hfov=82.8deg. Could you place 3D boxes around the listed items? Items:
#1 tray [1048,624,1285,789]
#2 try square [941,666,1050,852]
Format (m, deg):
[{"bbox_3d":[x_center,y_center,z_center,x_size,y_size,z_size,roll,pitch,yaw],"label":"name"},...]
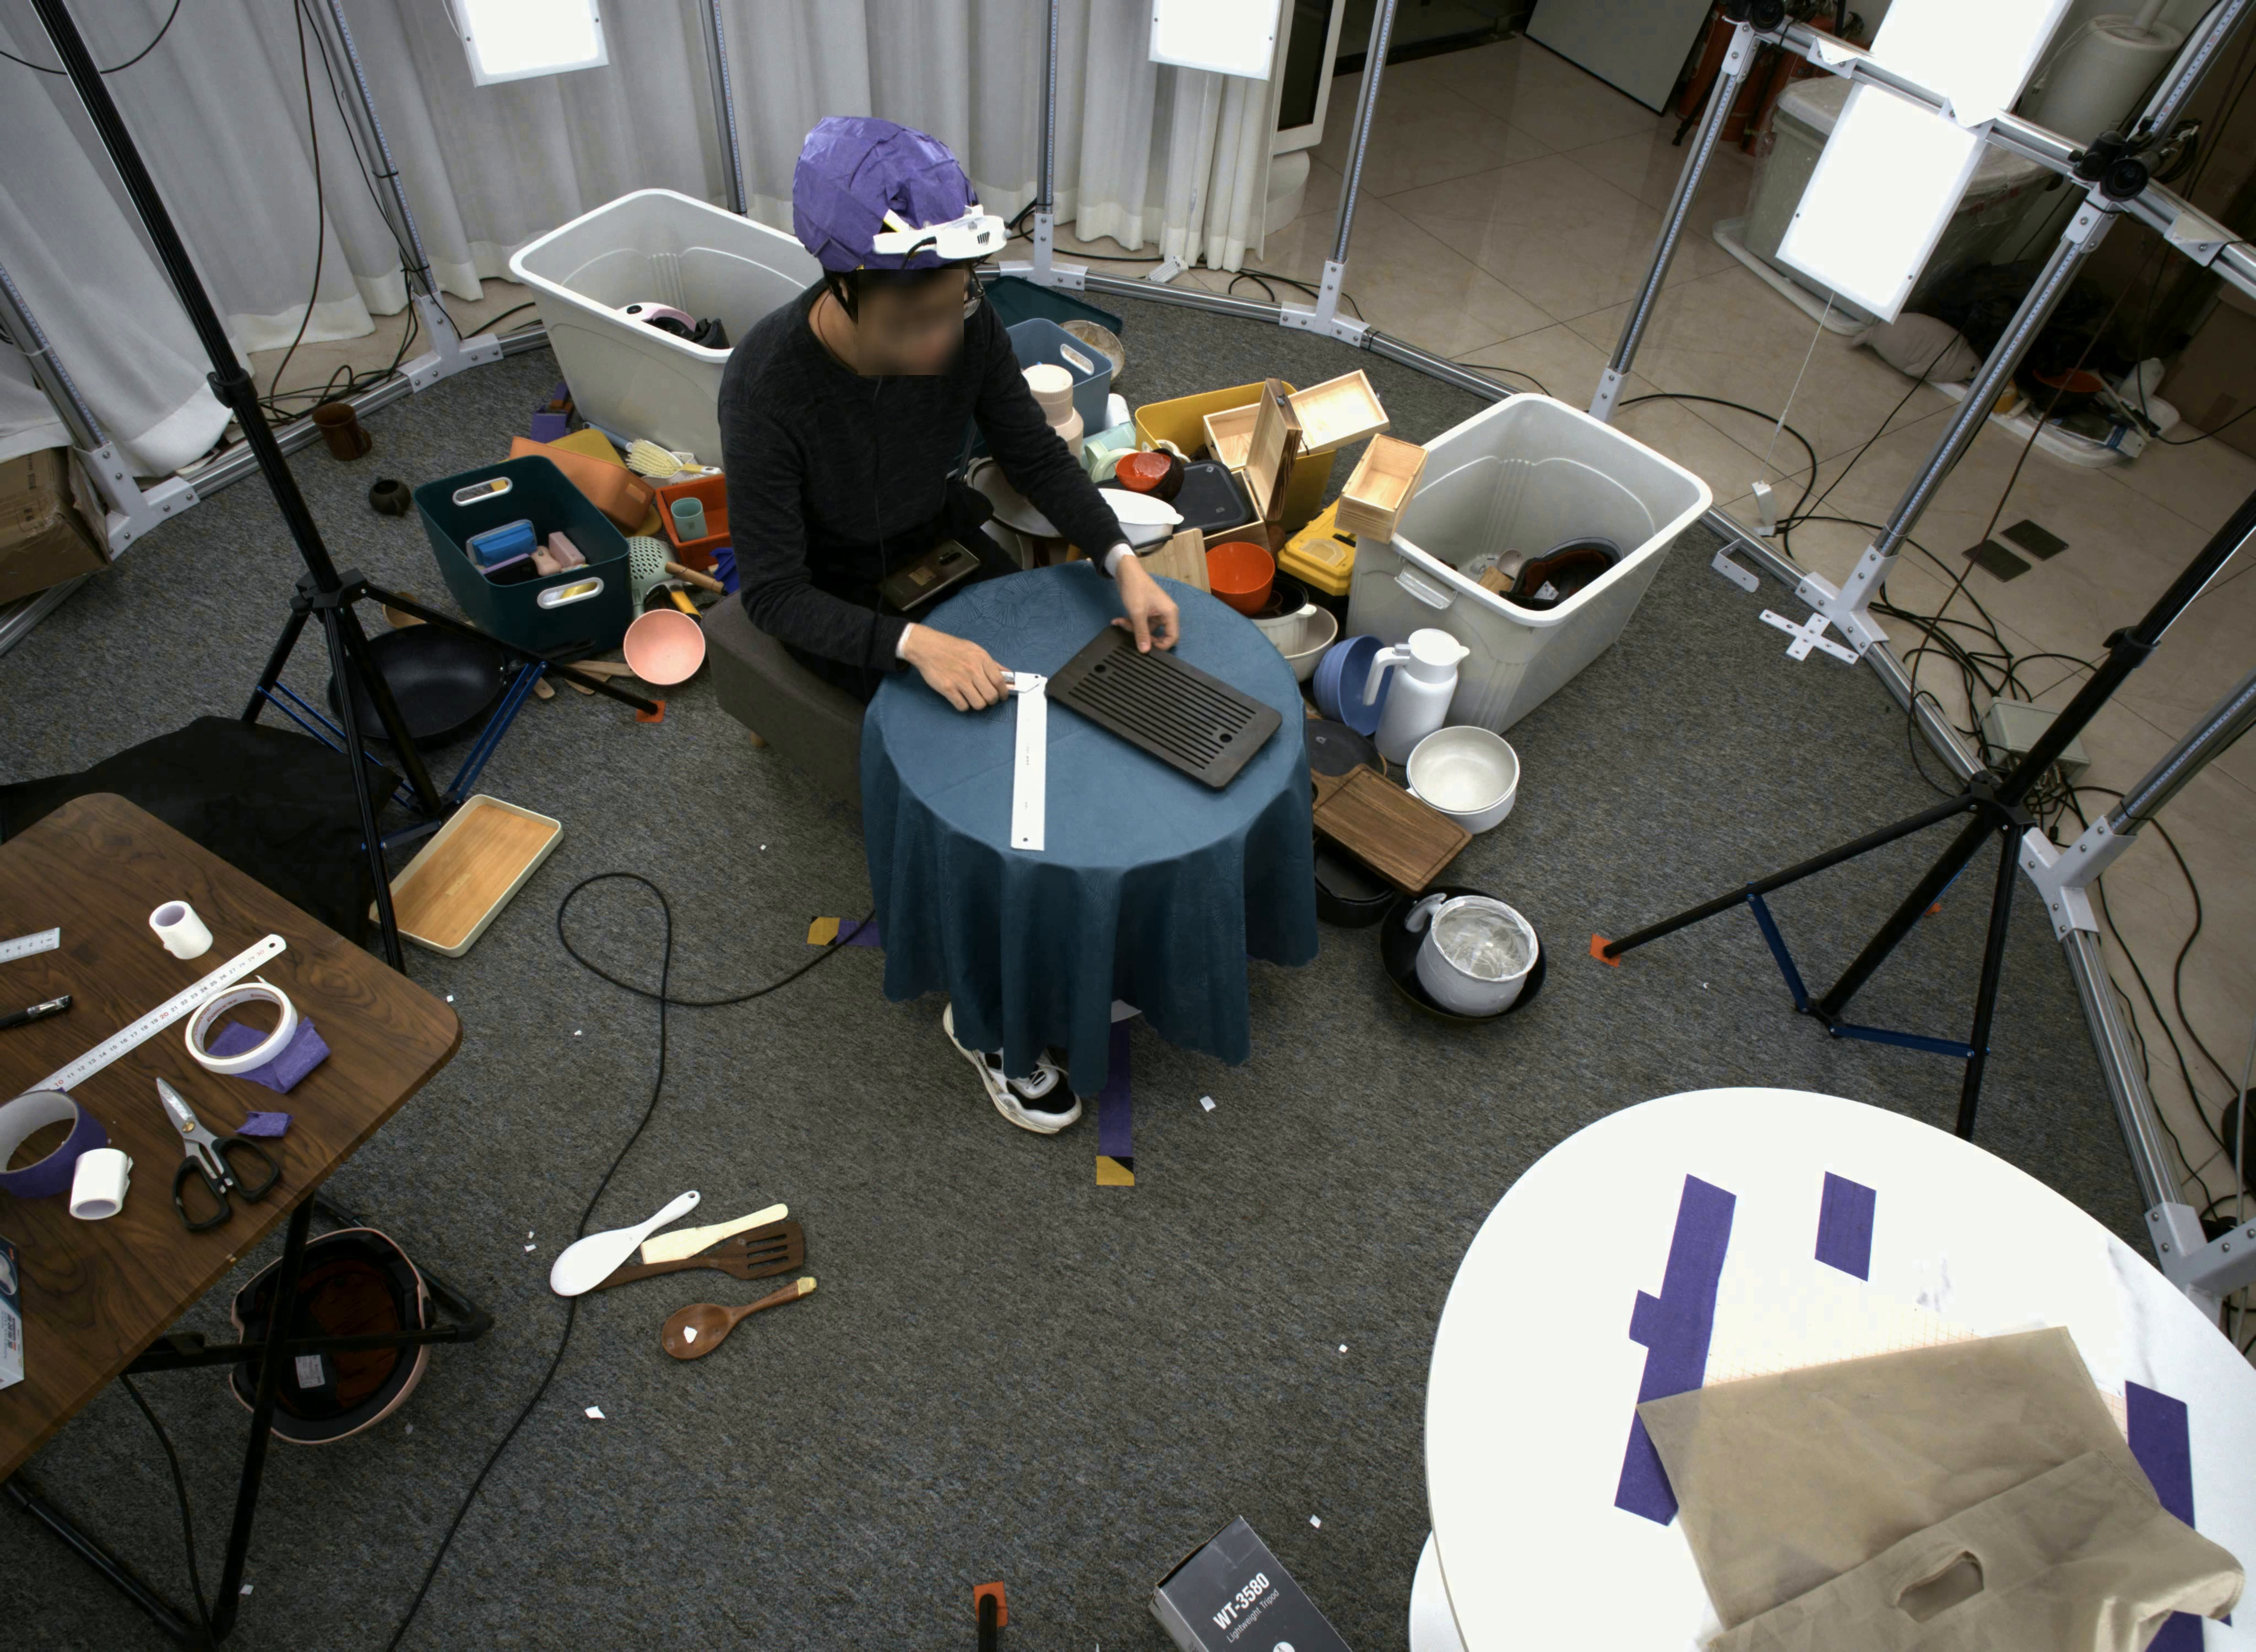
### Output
[{"bbox_3d":[0.052,-0.172,1.807,0.309,0.018,0.172,31,57,22],"label":"tray"},{"bbox_3d":[-0.182,-0.096,1.727,0.152,0.015,0.321,4,50,-7],"label":"try square"}]
